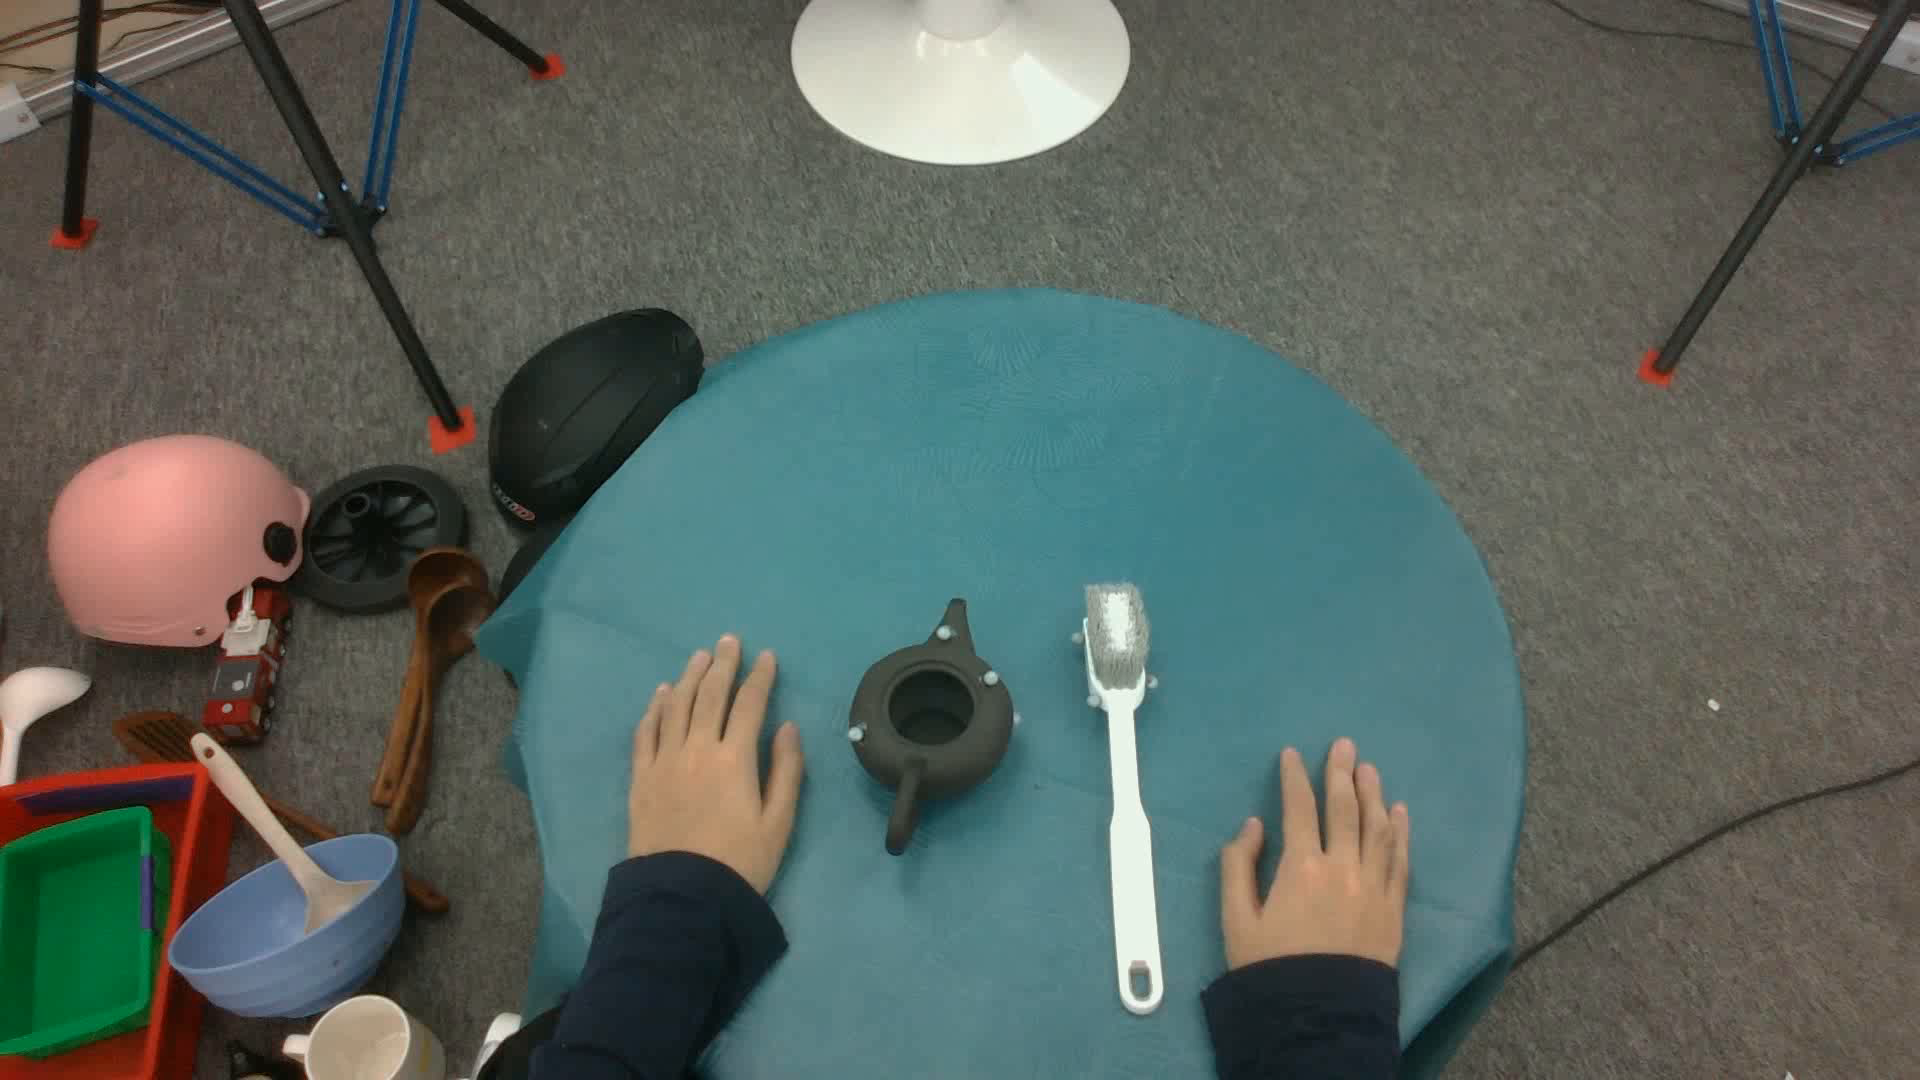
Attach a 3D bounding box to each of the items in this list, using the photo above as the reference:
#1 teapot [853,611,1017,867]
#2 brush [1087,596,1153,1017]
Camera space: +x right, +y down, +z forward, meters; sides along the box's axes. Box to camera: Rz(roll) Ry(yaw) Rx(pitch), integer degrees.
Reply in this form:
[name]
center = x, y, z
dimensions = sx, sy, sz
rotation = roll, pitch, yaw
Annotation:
[teapot]
center = -0.015, 0.115, 0.789
dimensions = 0.092, 0.064, 0.155
rotation = 12, 58, 7
[brush]
center = 0.093, 0.140, 0.780
dimensions = 0.034, 0.050, 0.245
rotation = 4, 56, -2
